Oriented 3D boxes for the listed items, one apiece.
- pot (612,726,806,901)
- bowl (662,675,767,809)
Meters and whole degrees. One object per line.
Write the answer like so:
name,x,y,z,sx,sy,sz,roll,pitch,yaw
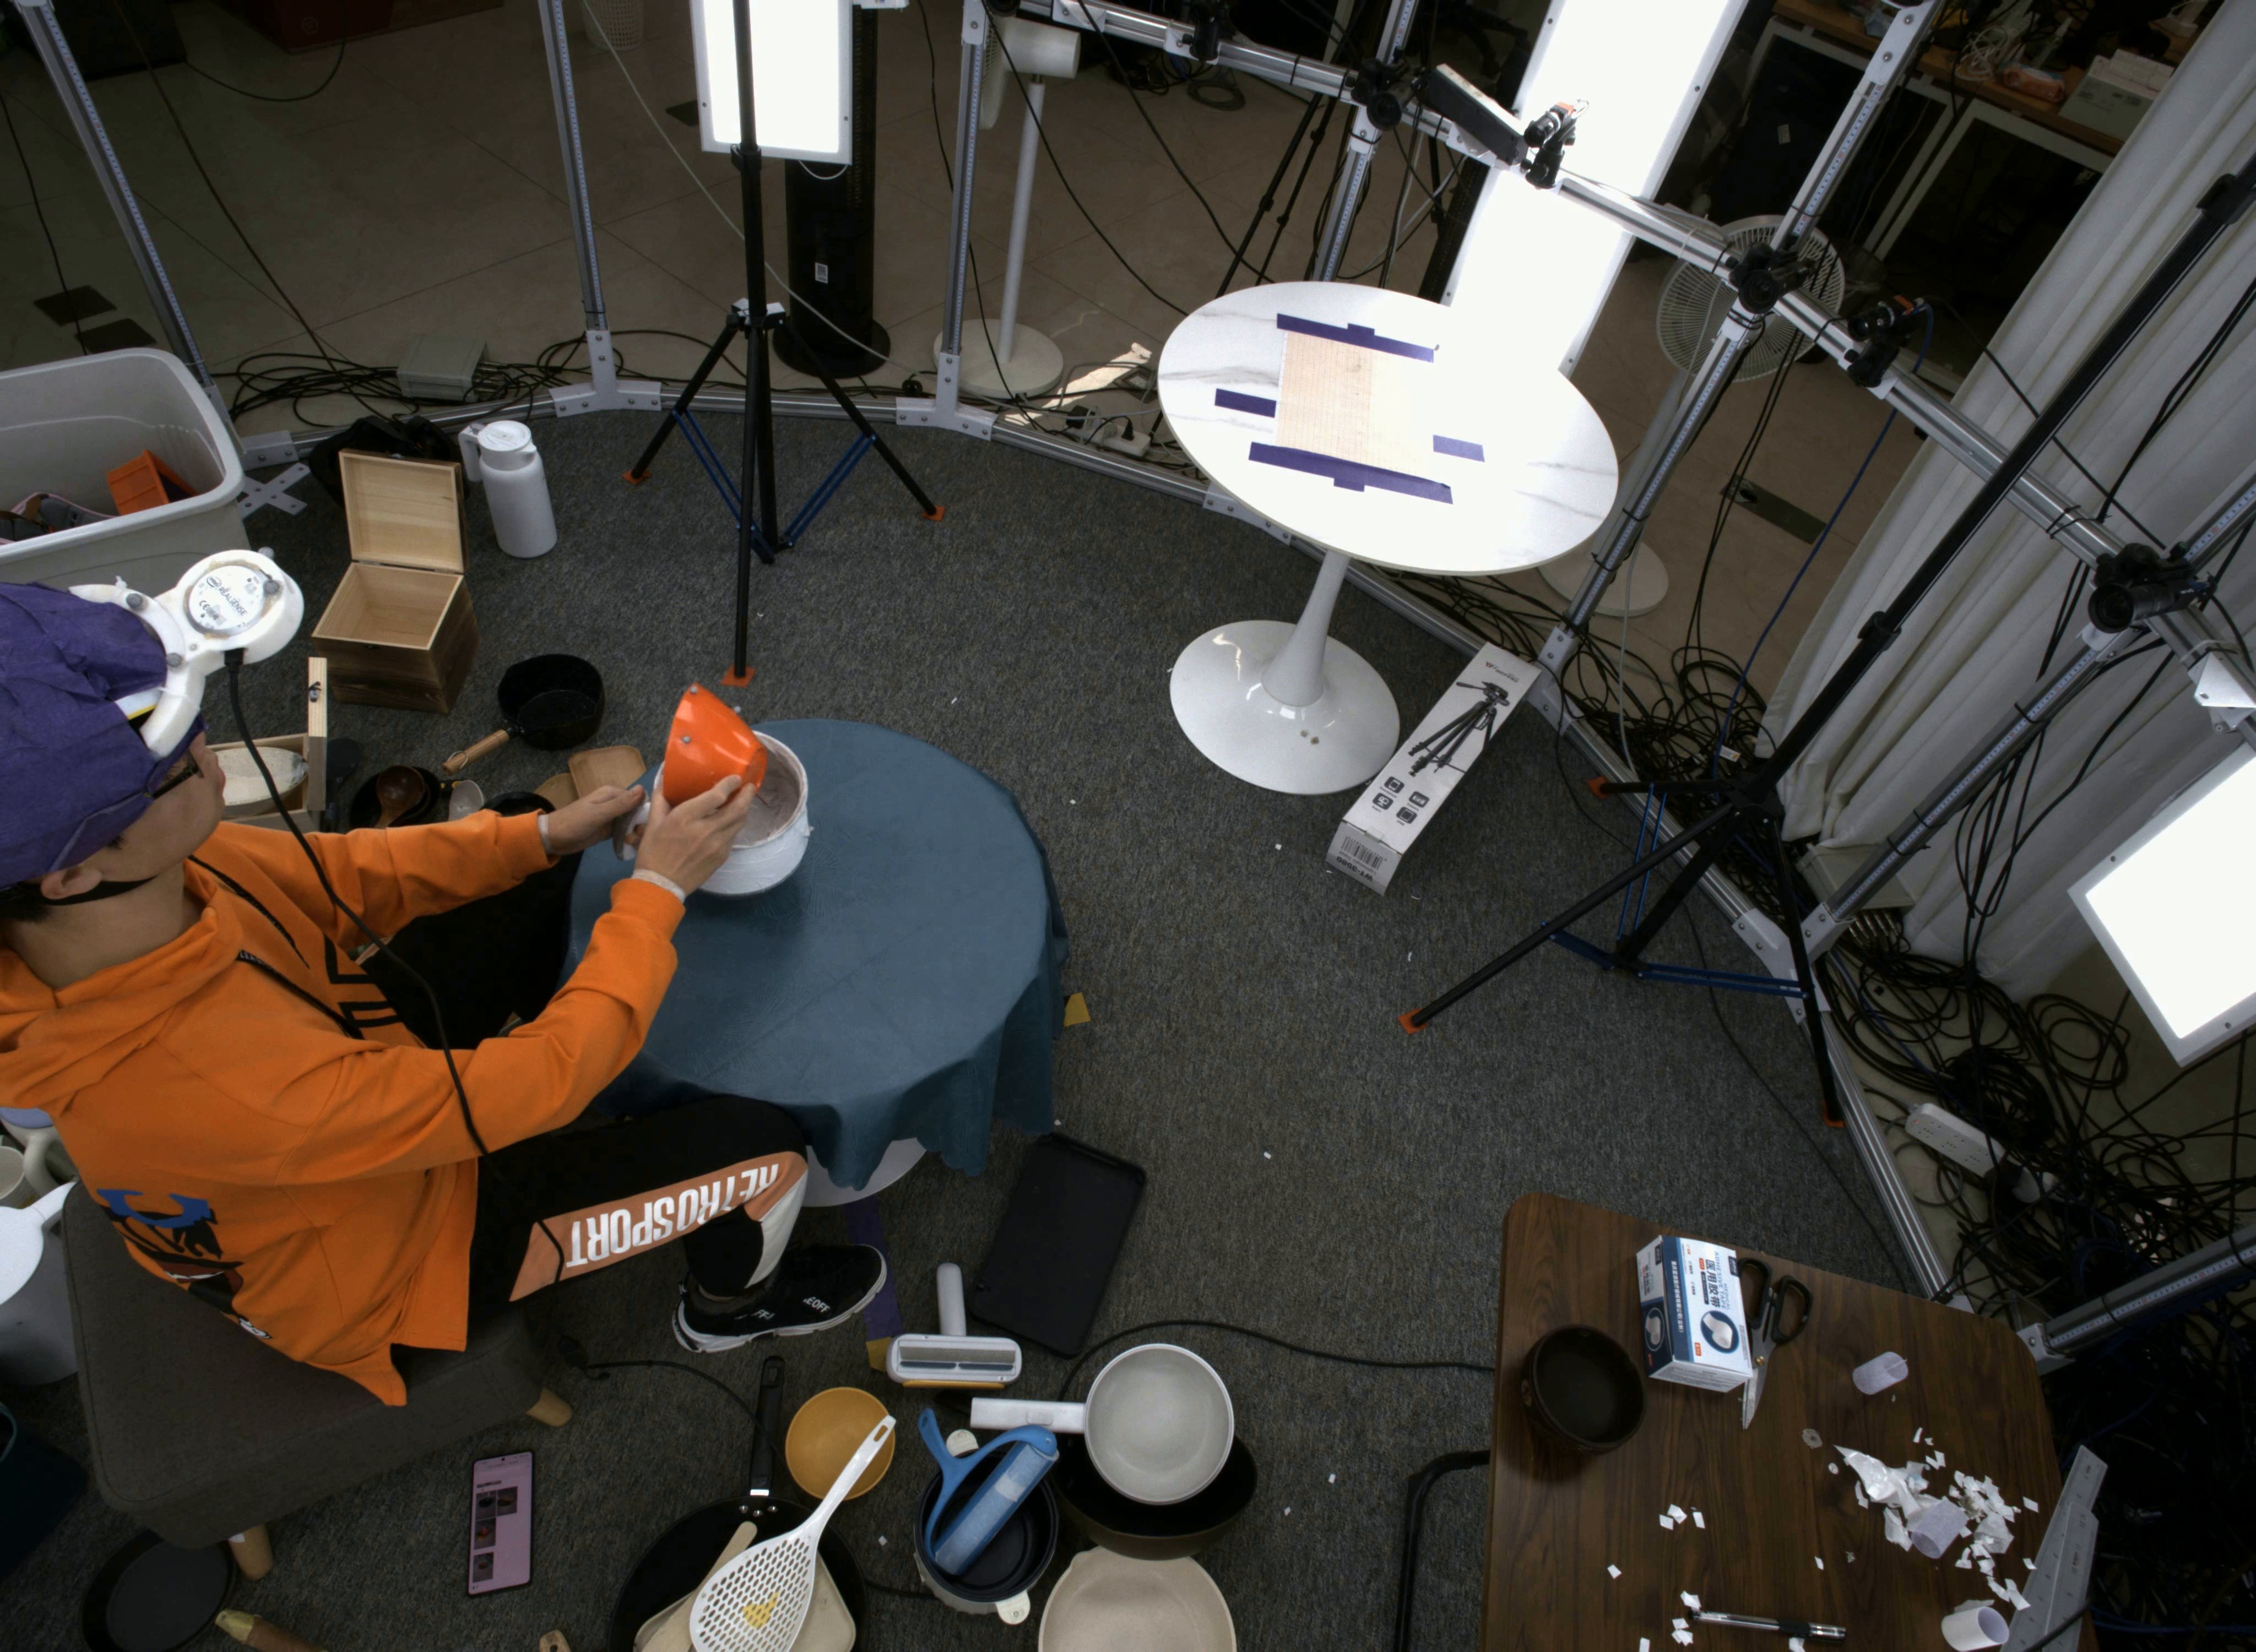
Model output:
pot,-0.503,-0.009,1.542,0.235,0.139,0.175,-8,58,-20
bowl,-0.462,-0.084,1.445,0.103,0.151,0.146,16,50,1
